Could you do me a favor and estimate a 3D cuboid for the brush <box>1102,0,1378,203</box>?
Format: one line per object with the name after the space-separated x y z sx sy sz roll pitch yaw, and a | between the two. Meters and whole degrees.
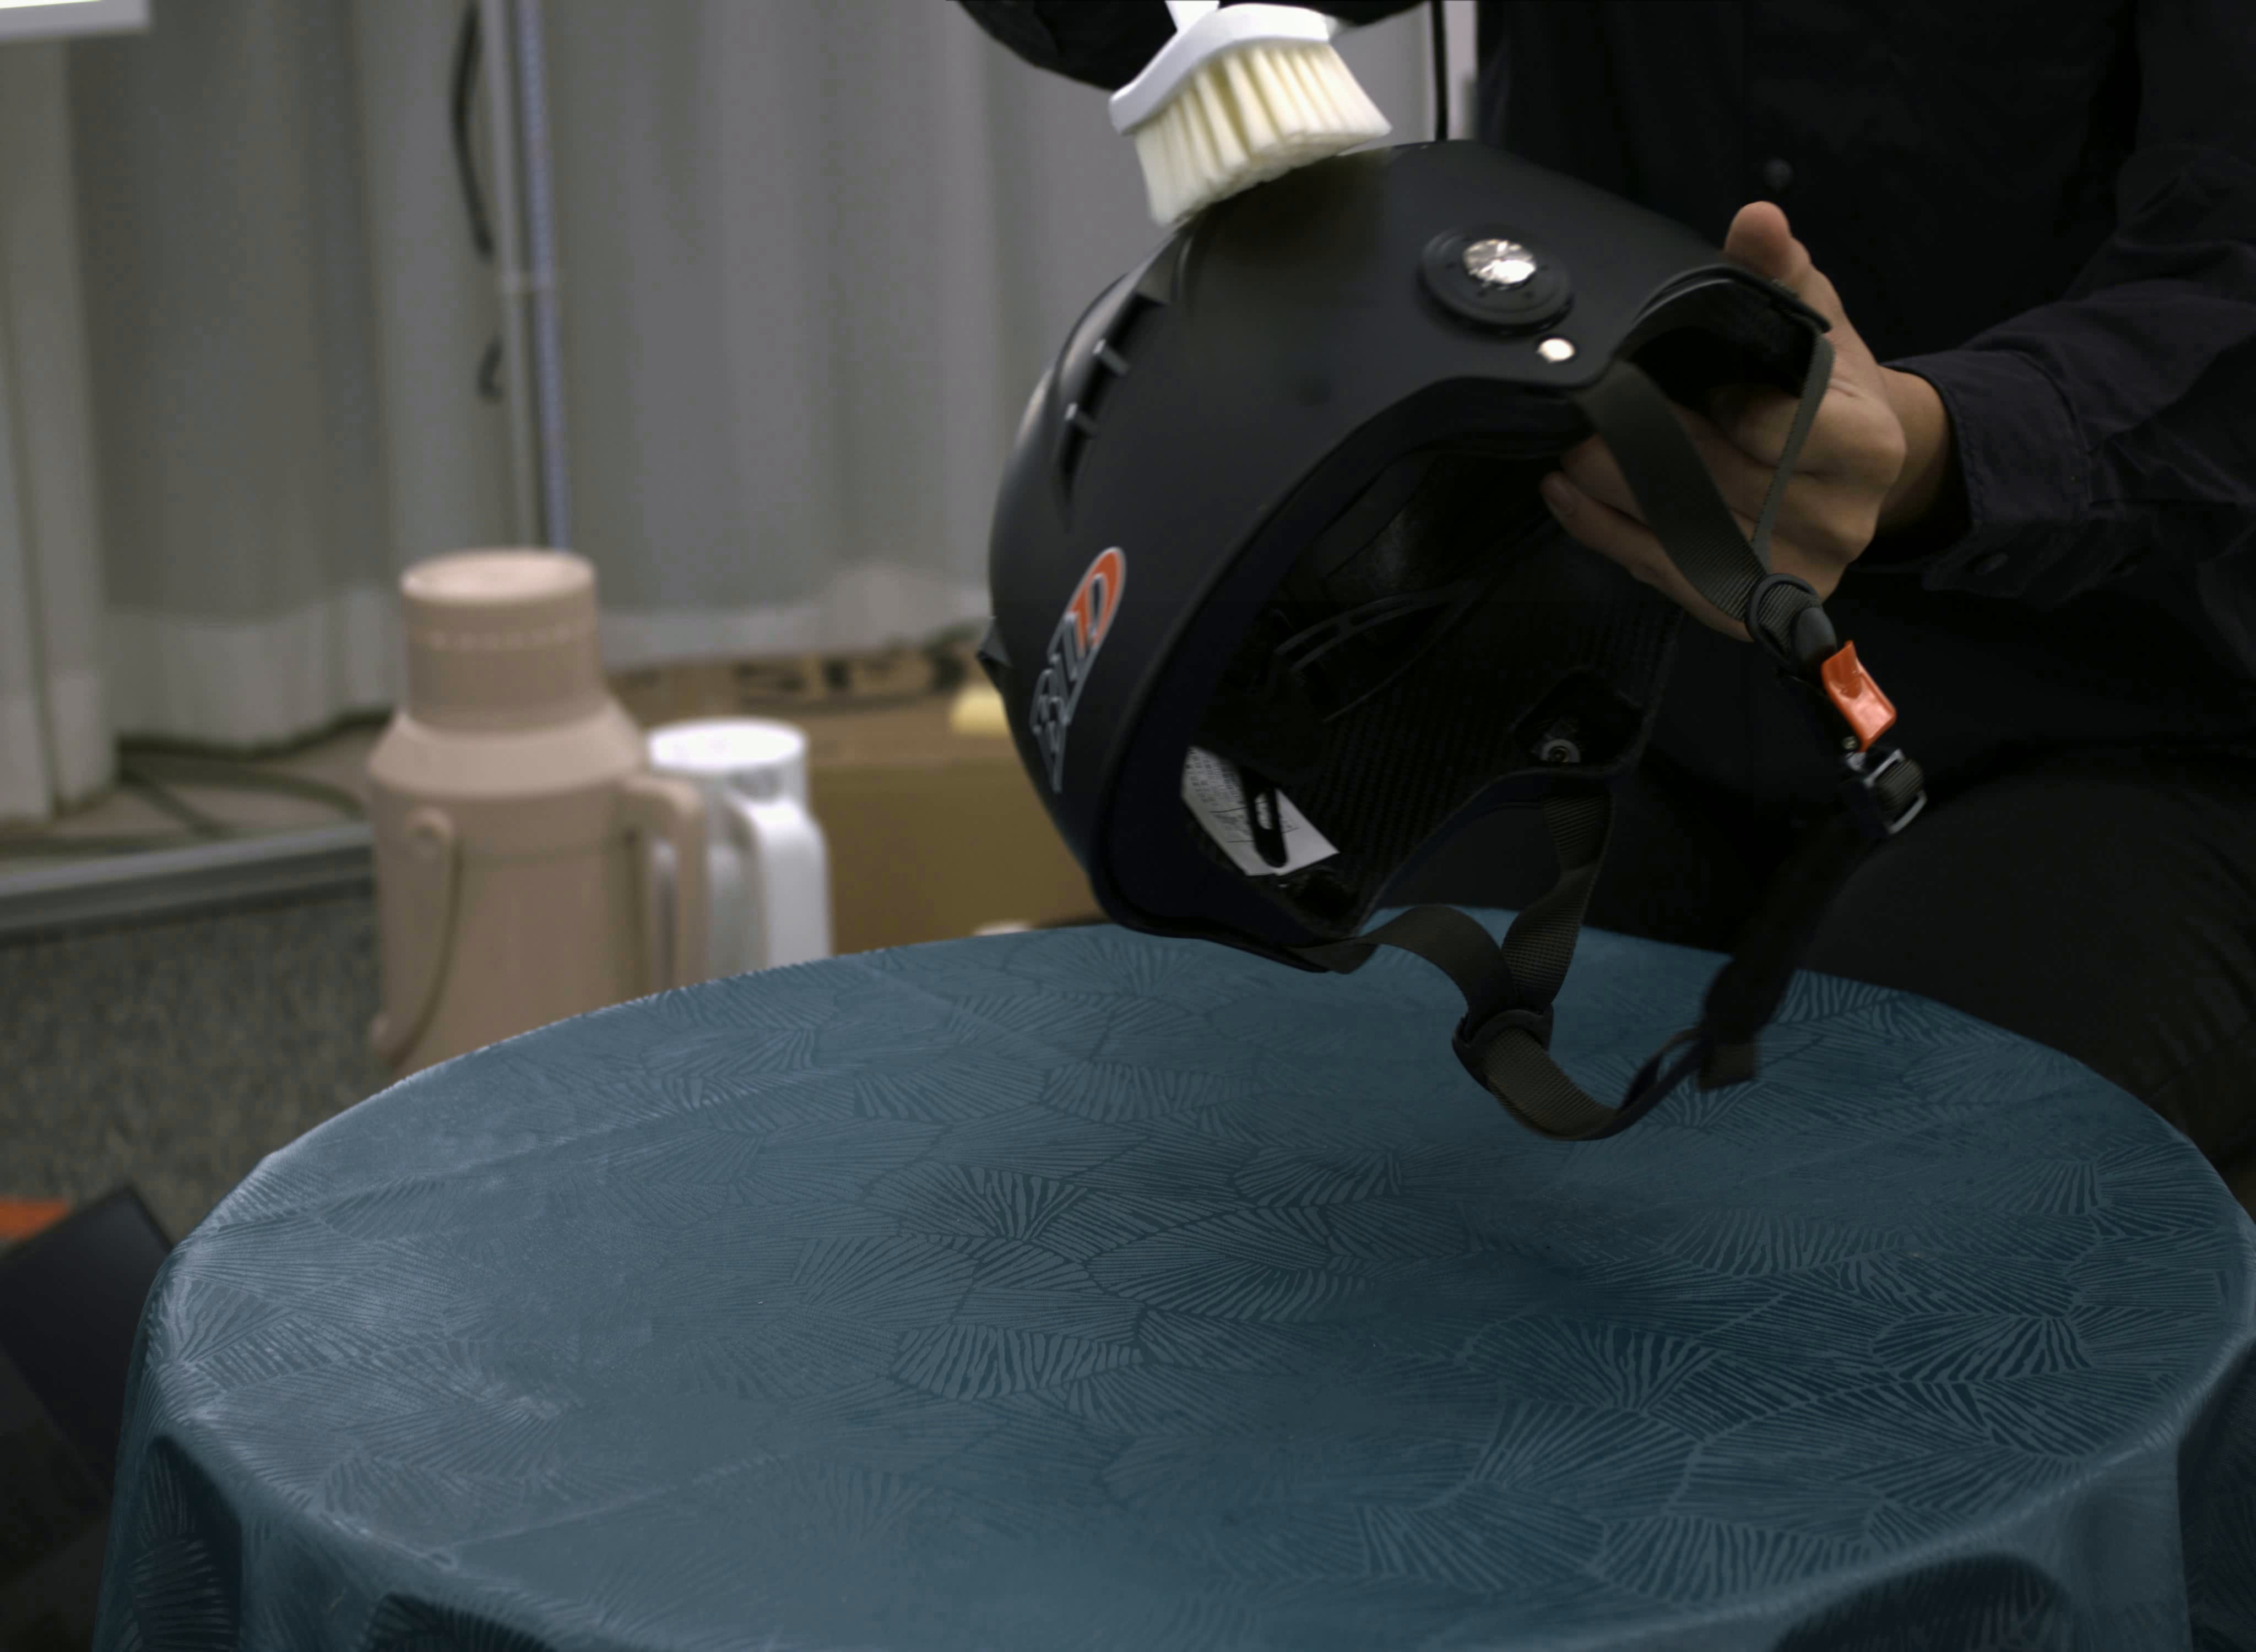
0.028 -0.229 1.547 0.082 0.085 0.328 13 16 -8 | brush

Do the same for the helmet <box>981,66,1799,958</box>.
0.060 -0.098 1.485 0.271 0.247 0.175 -23 54 -41 | helmet
